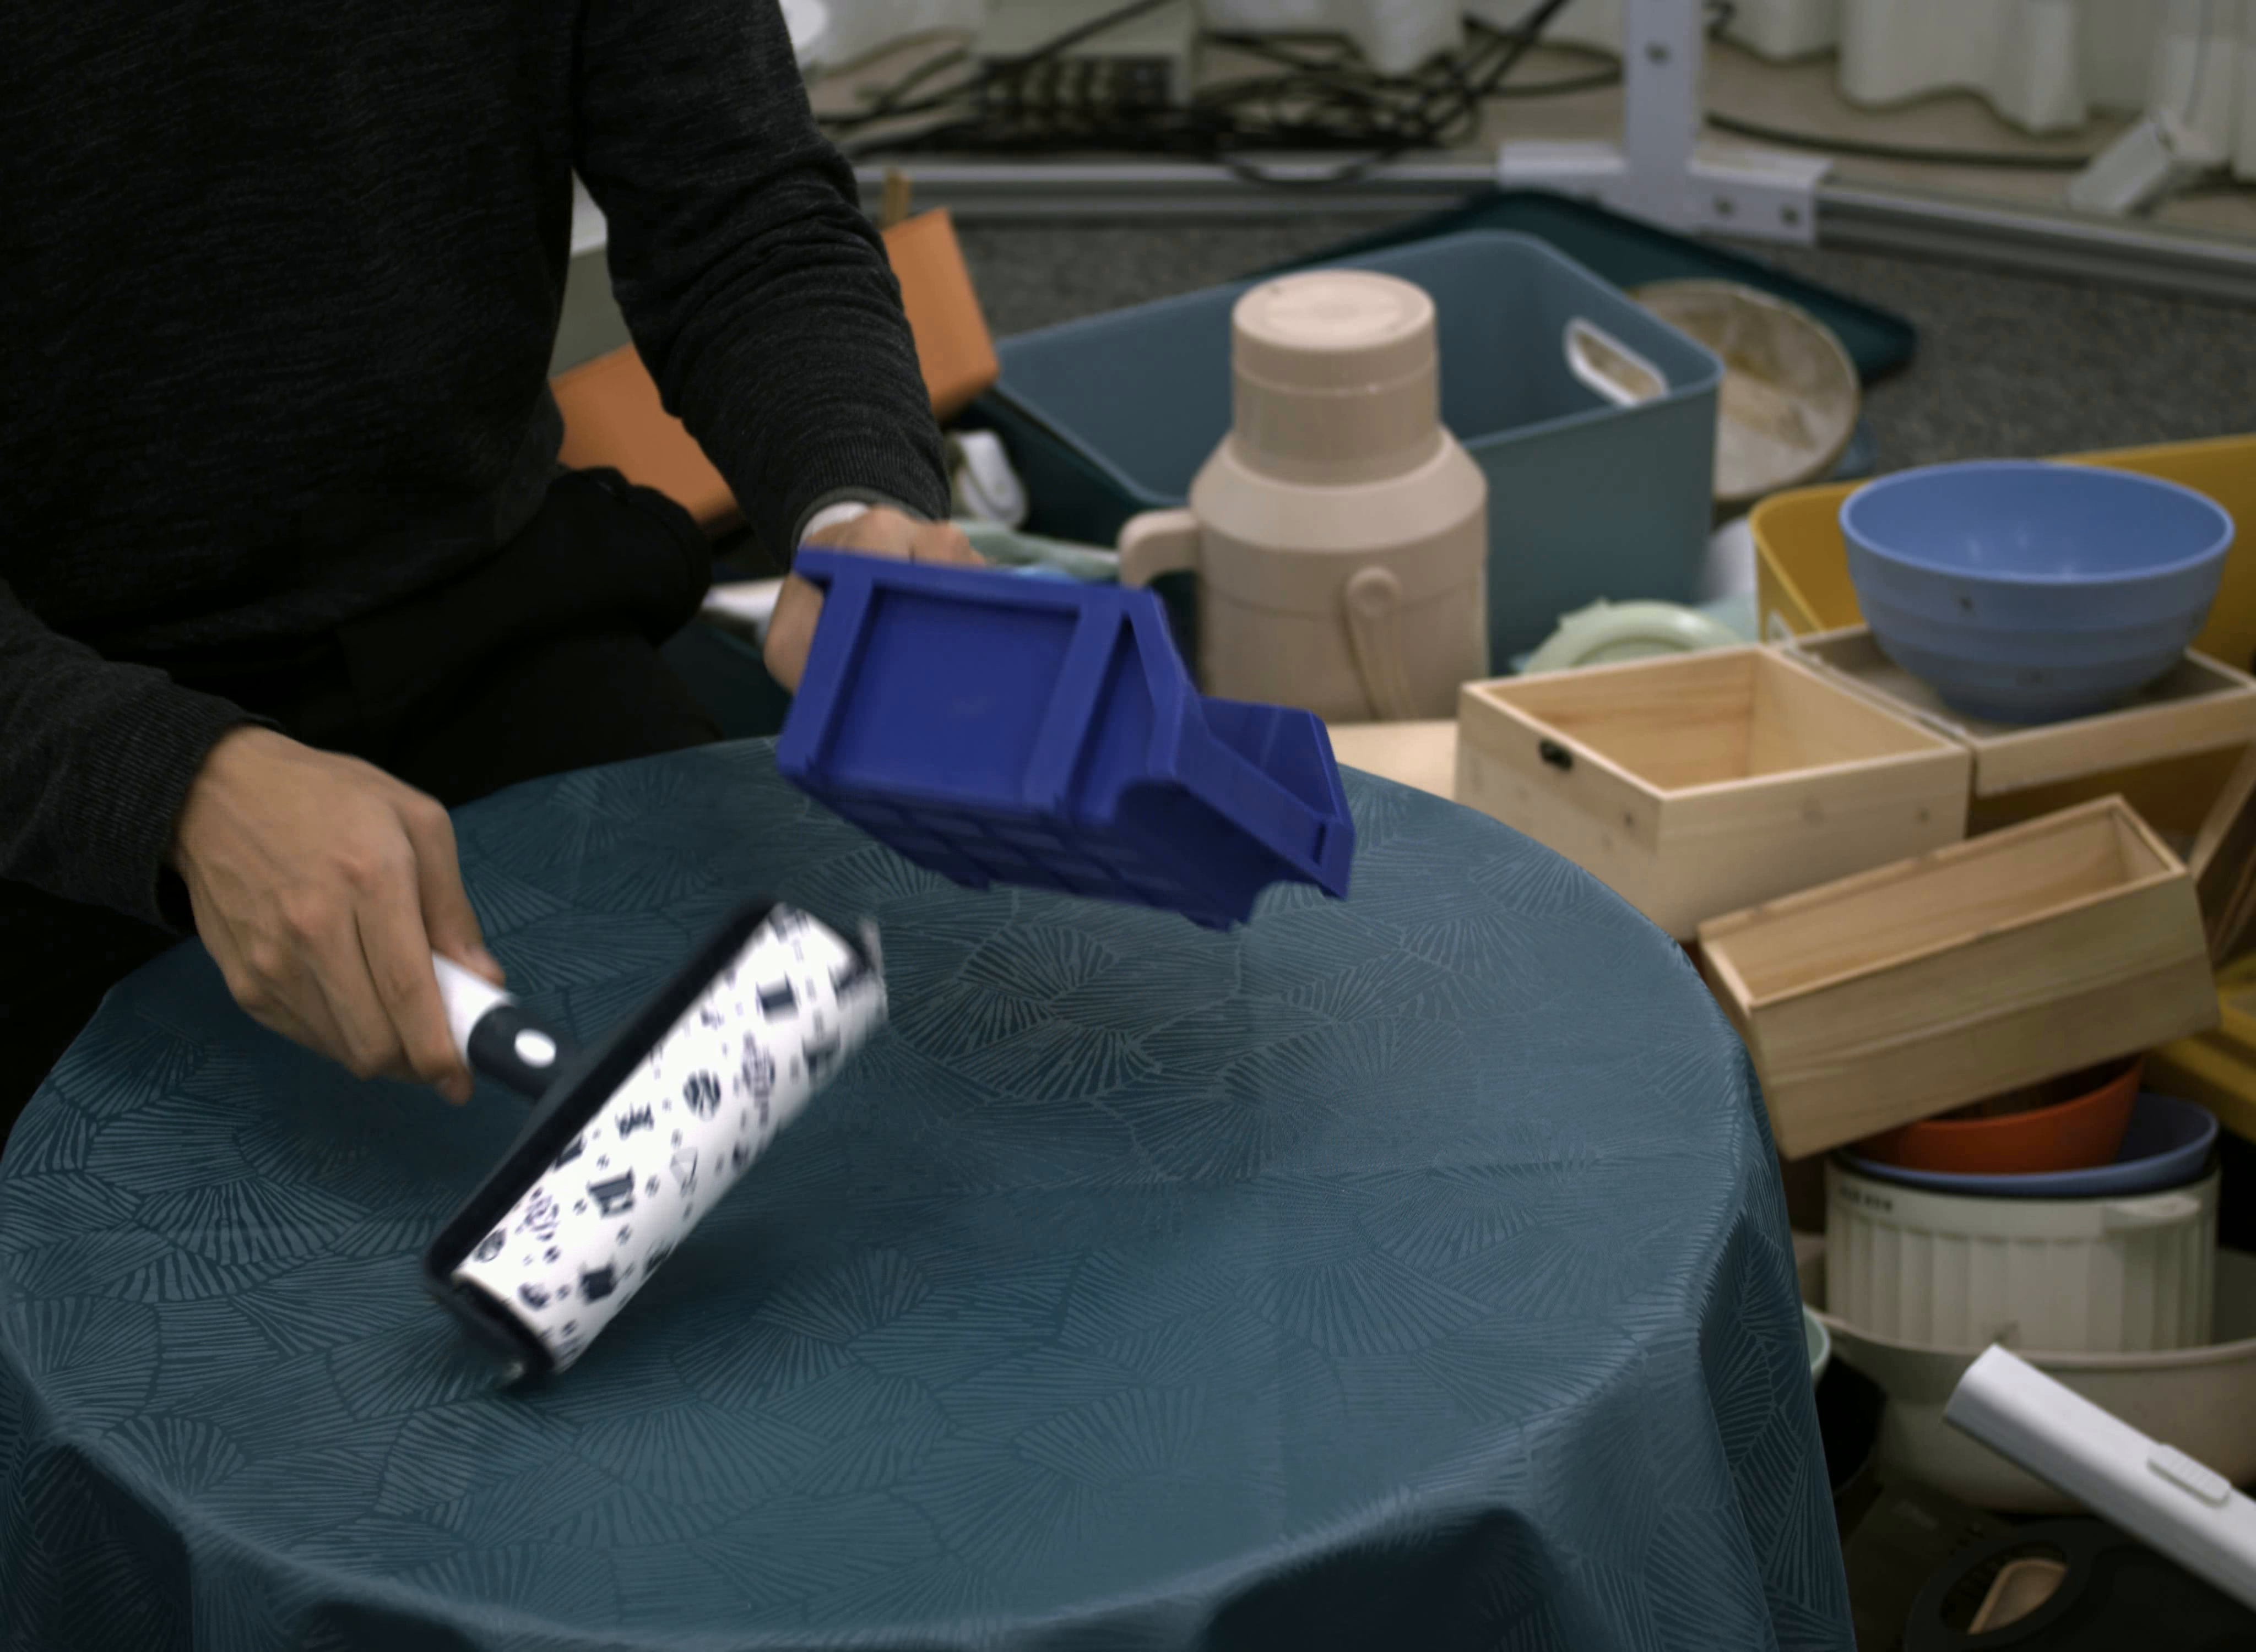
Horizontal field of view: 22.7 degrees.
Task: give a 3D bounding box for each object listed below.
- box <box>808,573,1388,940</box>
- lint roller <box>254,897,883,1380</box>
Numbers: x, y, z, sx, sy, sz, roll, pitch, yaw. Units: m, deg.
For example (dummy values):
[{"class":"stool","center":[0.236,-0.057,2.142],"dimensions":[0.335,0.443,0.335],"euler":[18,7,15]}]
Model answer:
[{"class":"box","center":[-0.011,-0.022,1.904],"dimensions":[0.178,0.083,0.124],"euler":[5,-17,35]},{"class":"lint roller","center":[-0.217,0.072,1.858],"dimensions":[0.247,0.050,0.178],"euler":[26,62,39]}]
